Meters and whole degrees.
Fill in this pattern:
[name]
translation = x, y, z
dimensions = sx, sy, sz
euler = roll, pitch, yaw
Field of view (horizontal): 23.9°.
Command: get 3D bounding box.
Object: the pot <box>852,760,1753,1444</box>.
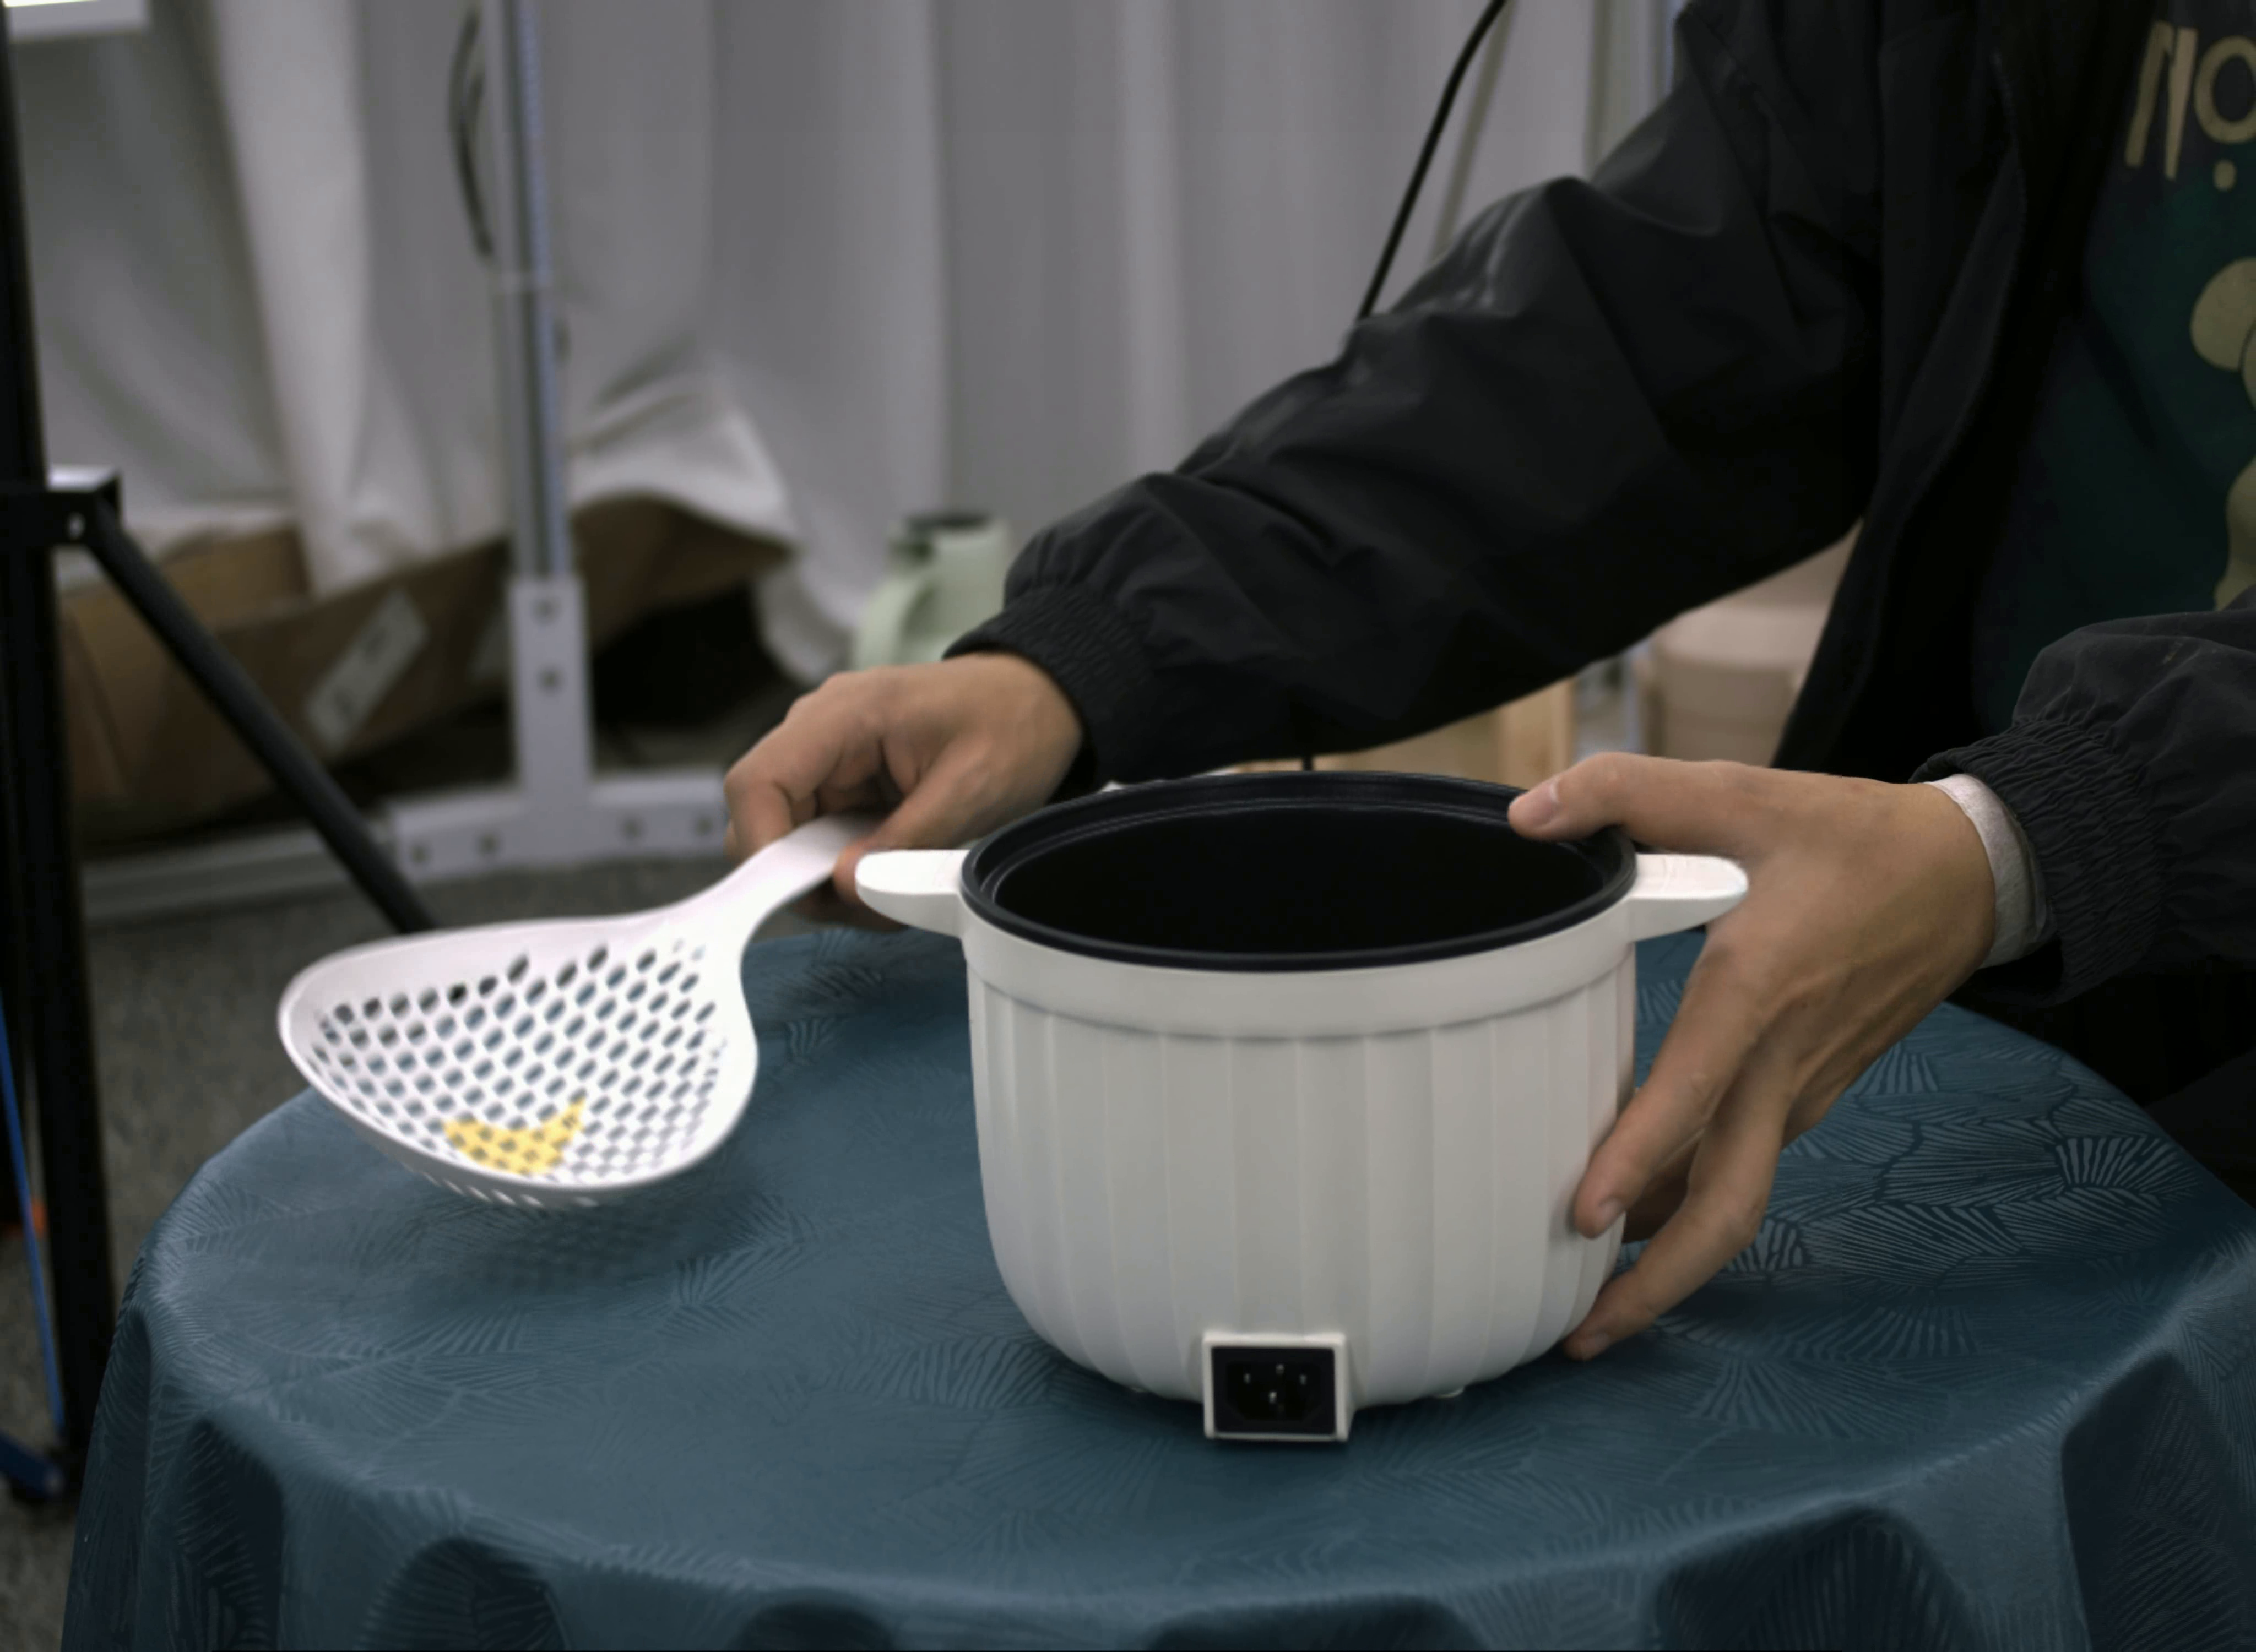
[pot]
translation = 0.047, 0.070, 1.431
dimensions = 0.241, 0.142, 0.190
euler = 1, 19, 9

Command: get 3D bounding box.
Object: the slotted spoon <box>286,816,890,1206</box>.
[slotted spoon]
translation = -0.138, 0.044, 1.654
dimensions = 0.138, 0.050, 0.344
euler = 21, 28, 15
